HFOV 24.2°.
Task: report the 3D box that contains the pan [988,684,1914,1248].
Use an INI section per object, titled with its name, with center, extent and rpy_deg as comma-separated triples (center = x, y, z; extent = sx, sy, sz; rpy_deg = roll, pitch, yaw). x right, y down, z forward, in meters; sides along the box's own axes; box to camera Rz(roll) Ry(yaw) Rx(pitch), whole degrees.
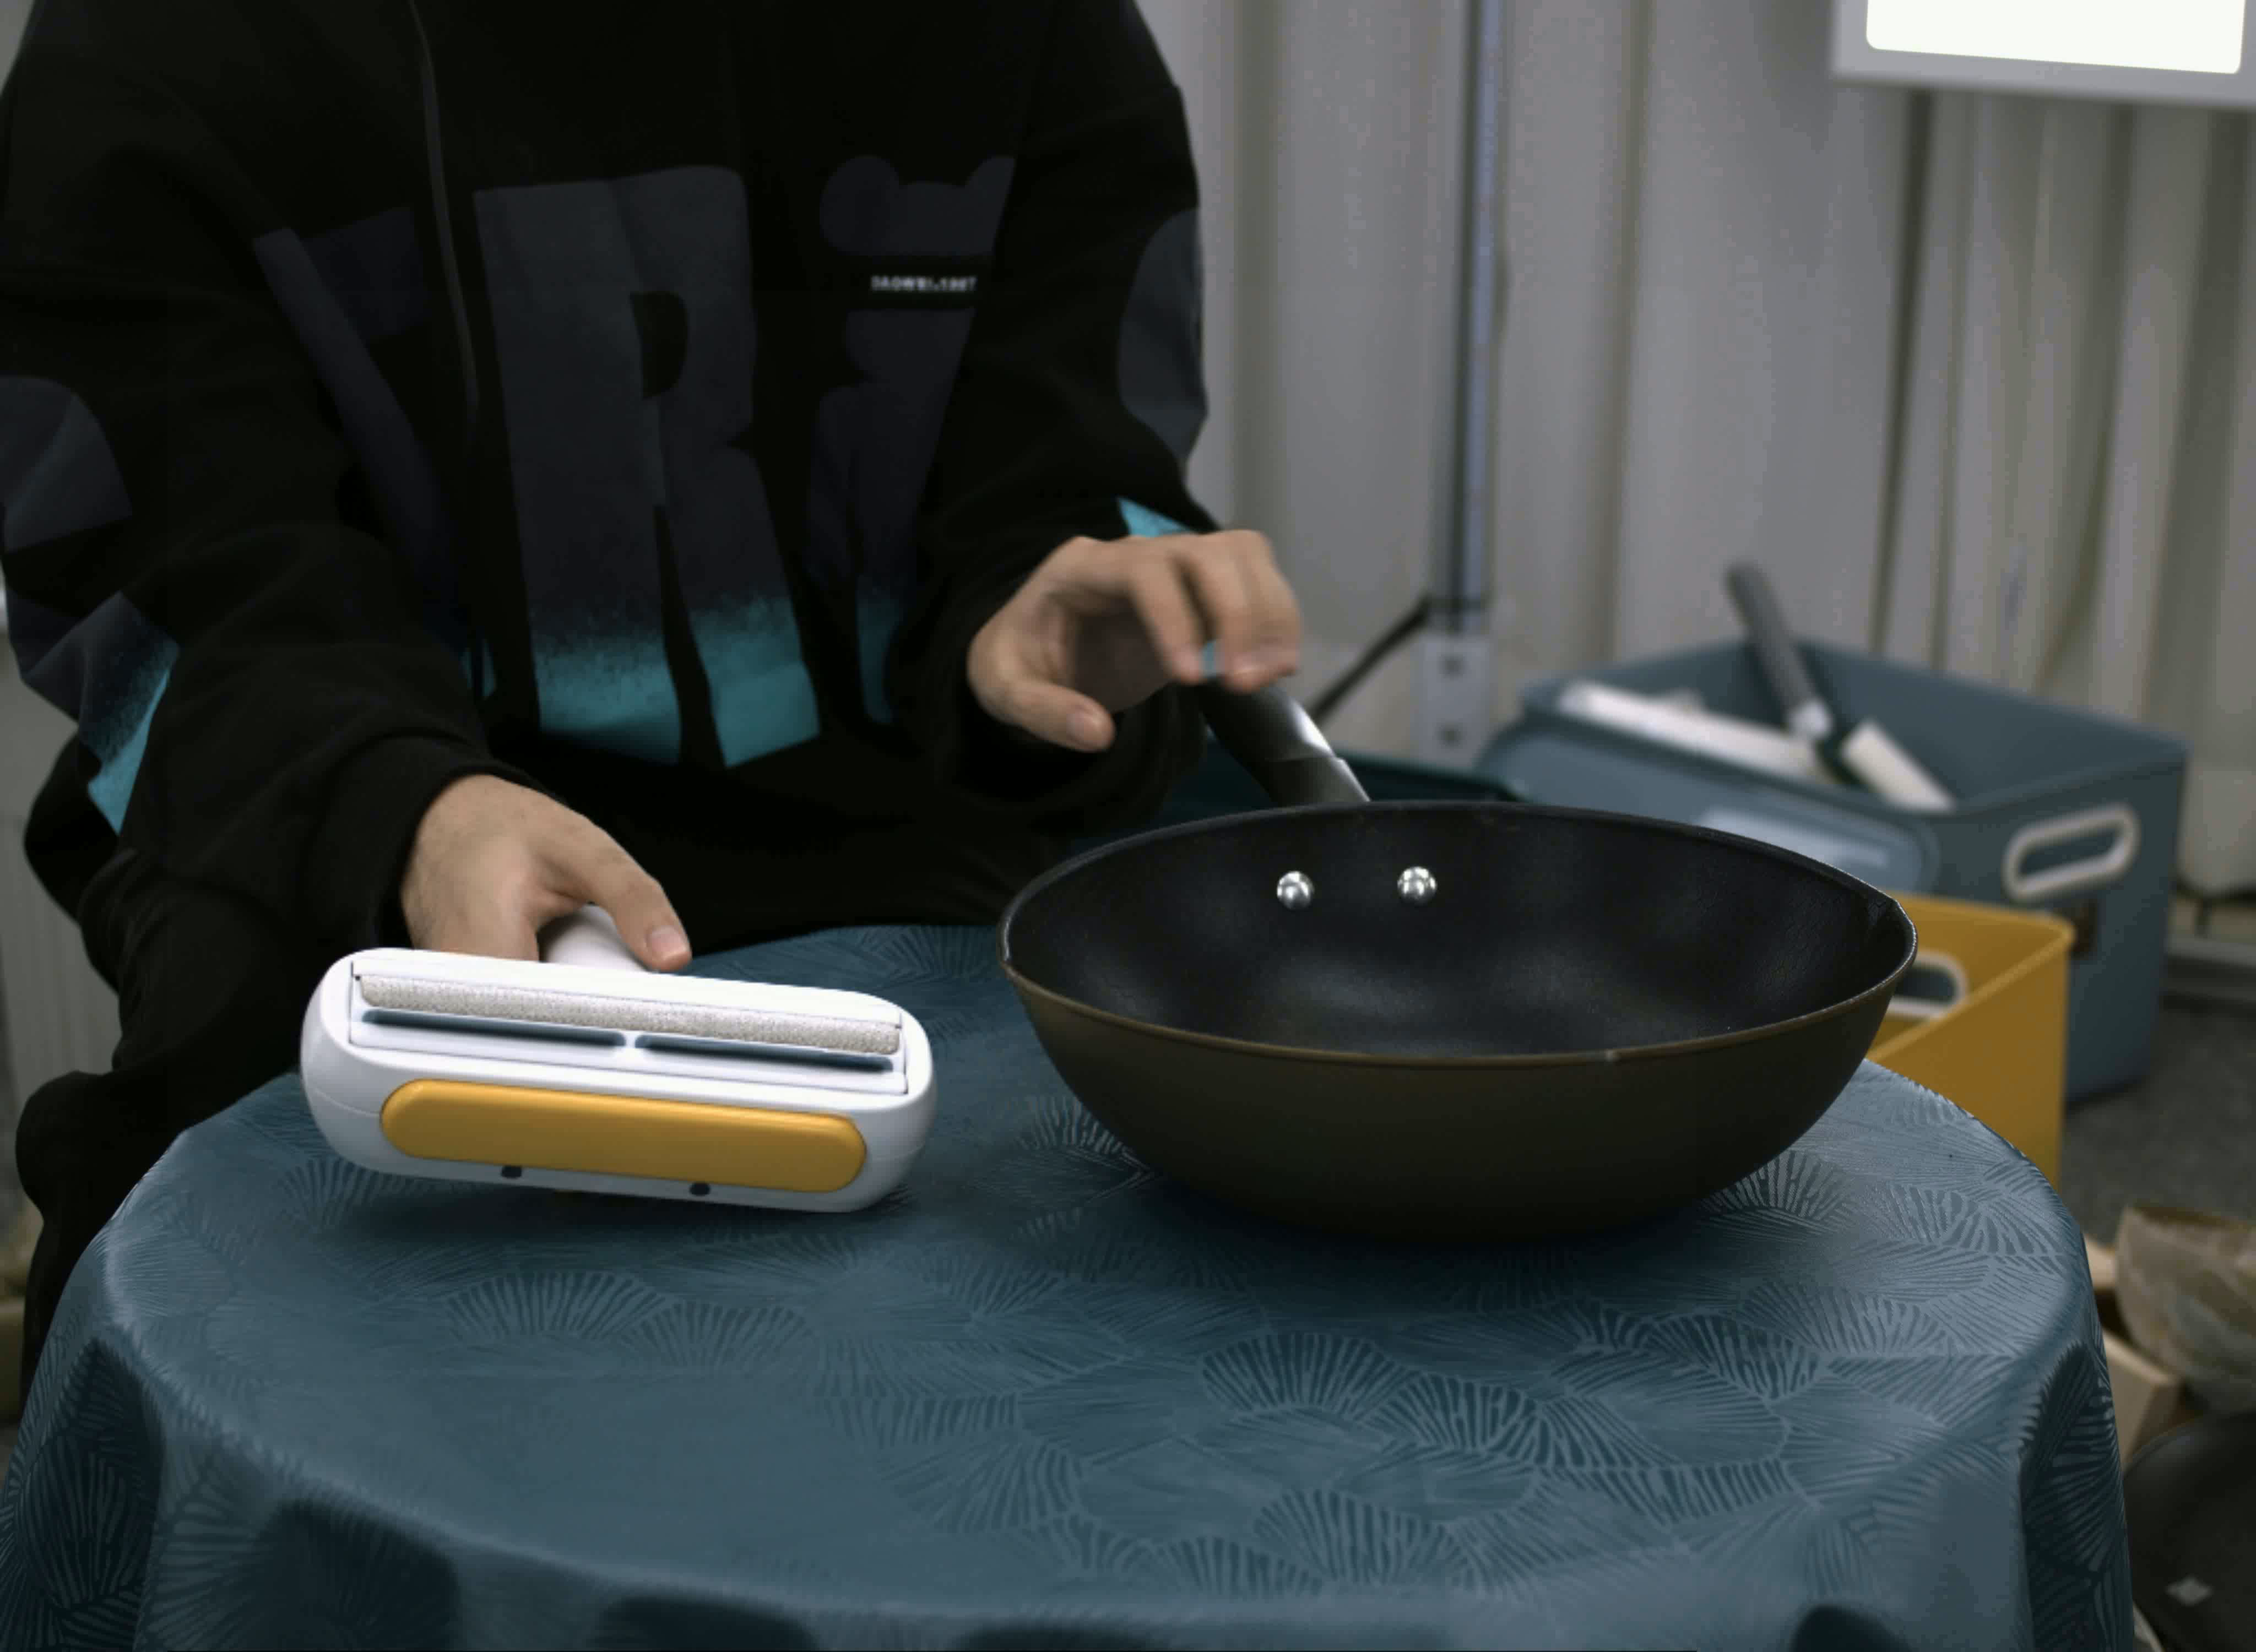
[pan]
center = 0.081, 0.043, 1.715
extent = 0.288, 0.087, 0.459
rpy_deg = -3, 16, -11

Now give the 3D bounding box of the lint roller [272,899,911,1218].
[lint roller]
center = -0.166, 0.057, 1.646
extent = 0.192, 0.075, 0.190
rpy_deg = 3, 26, -6
